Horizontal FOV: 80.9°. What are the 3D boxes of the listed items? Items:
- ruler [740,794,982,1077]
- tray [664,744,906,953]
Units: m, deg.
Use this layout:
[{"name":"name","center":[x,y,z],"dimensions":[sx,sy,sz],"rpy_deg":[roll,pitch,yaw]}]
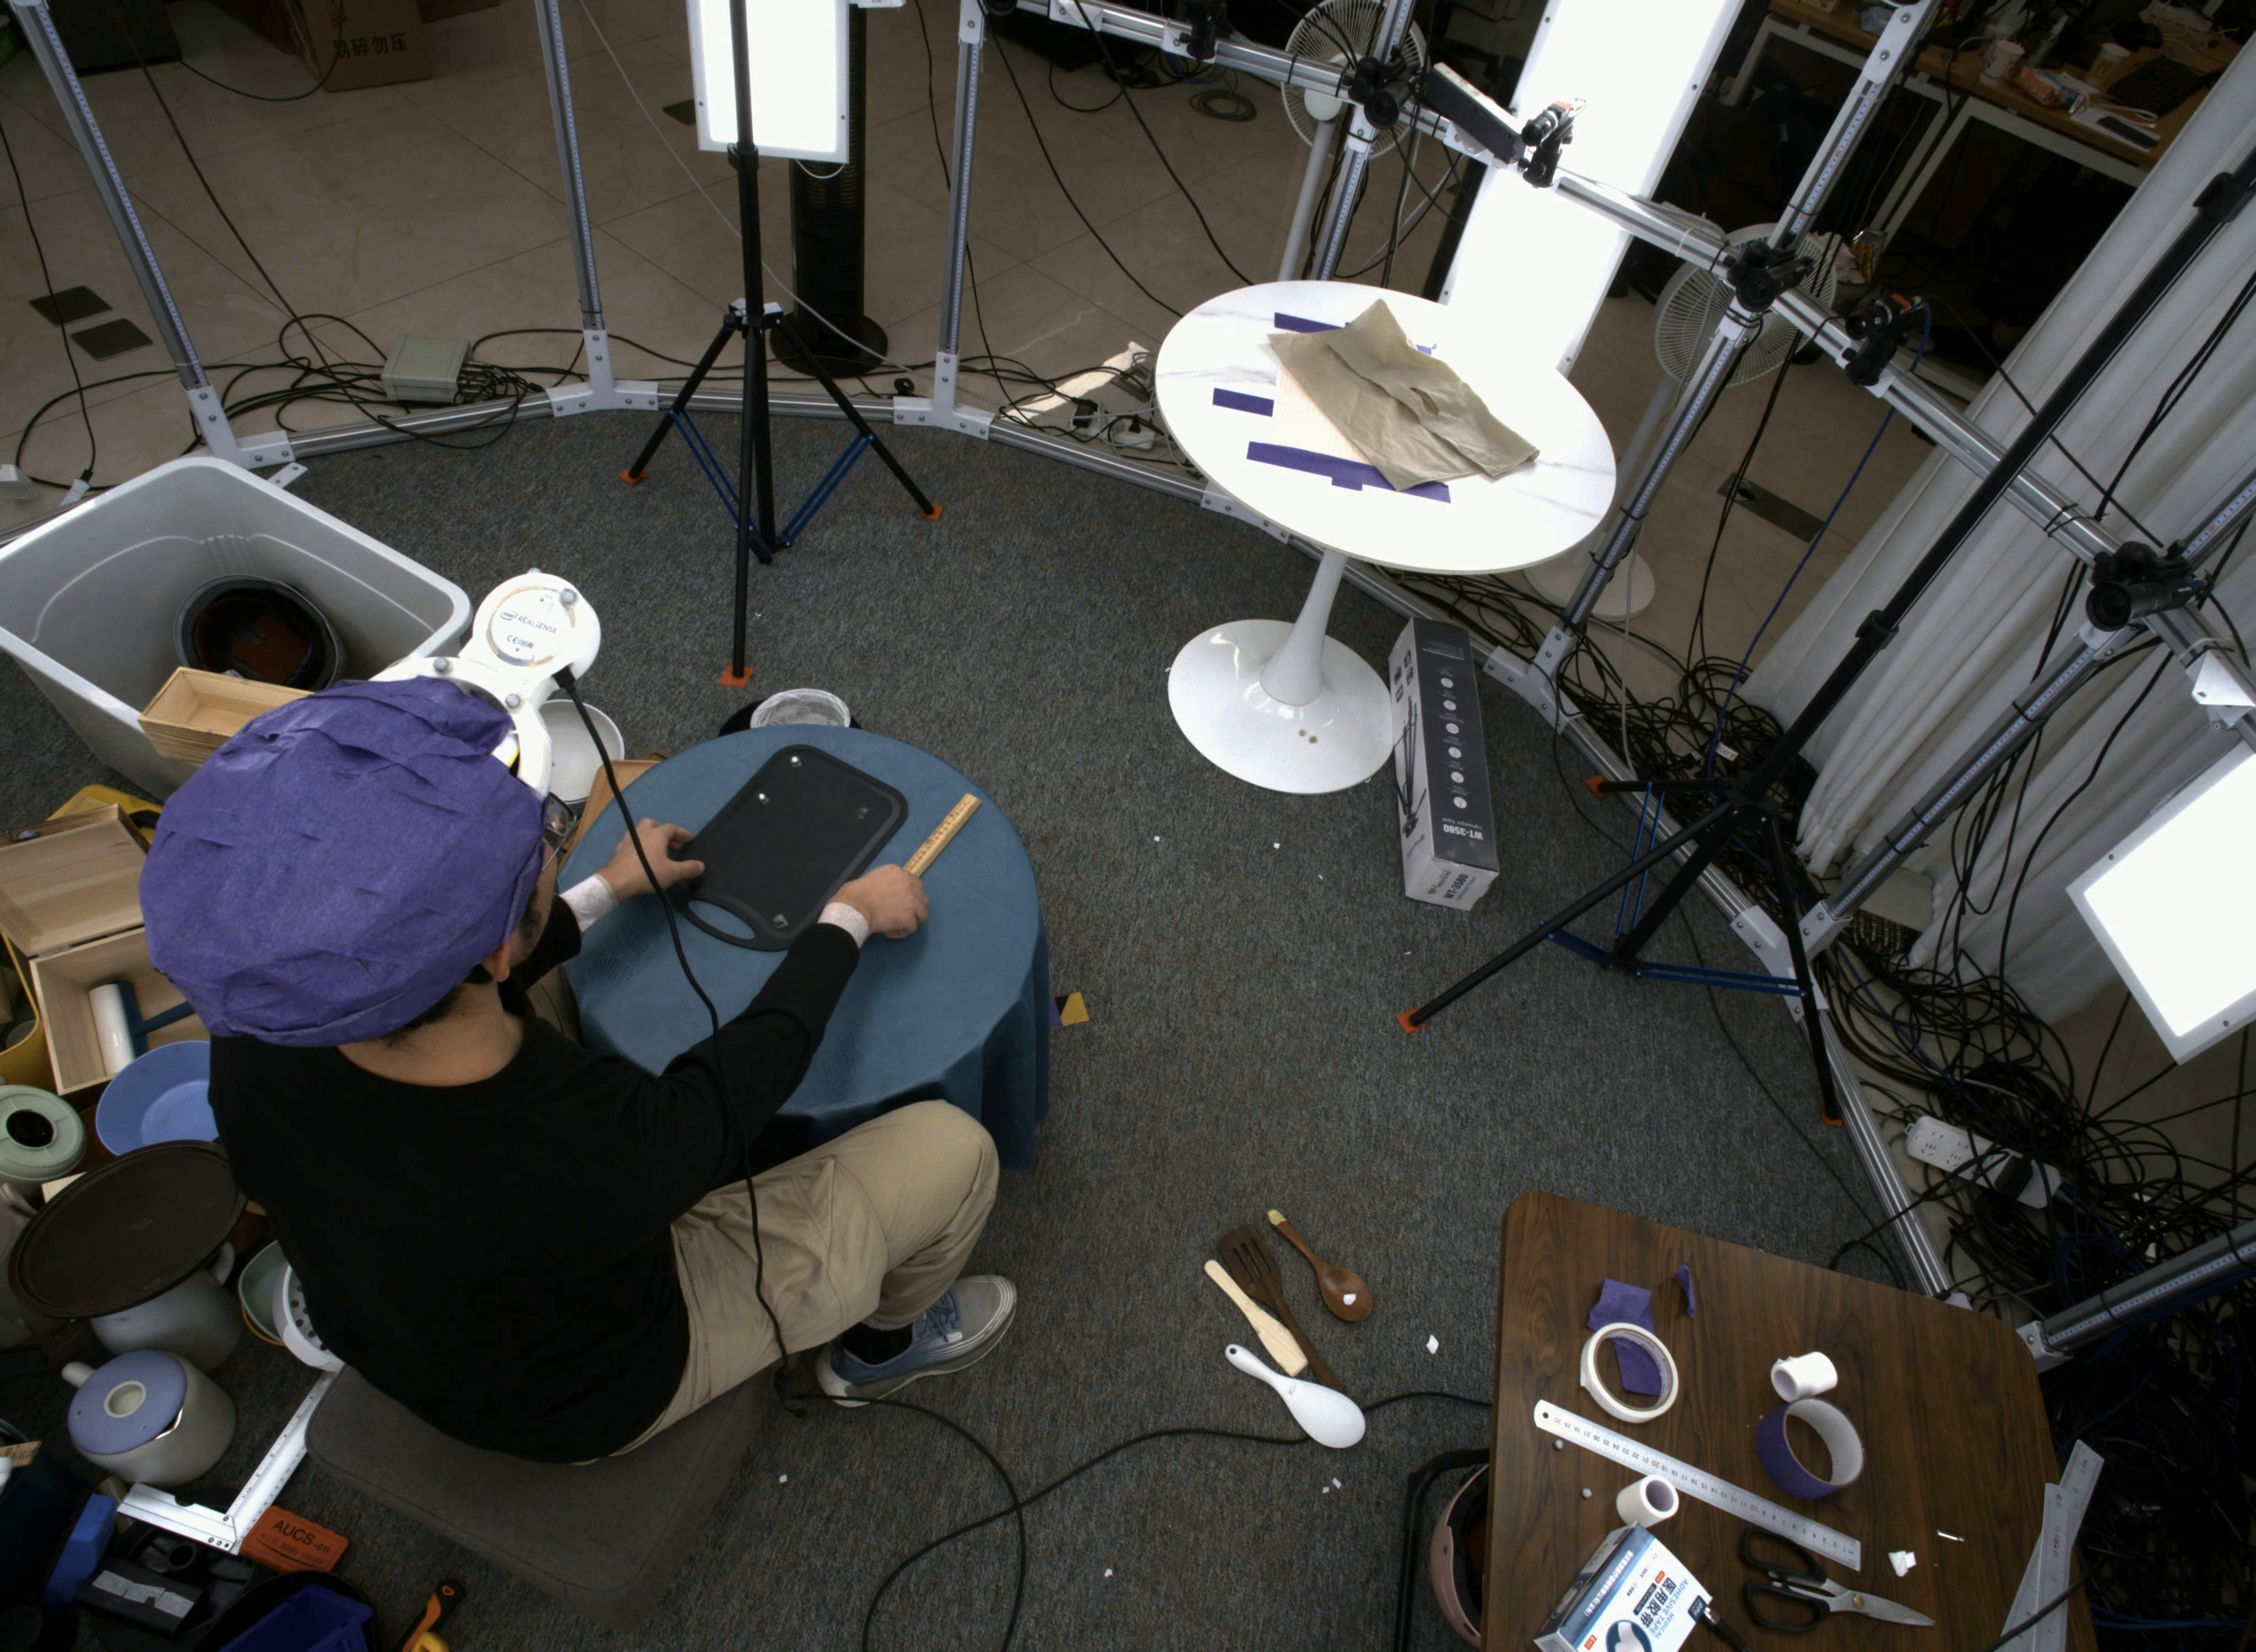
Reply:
[{"name":"ruler","center":[-0.328,0.120,1.651],"dimensions":[0.026,0.006,0.498],"rpy_deg":[28,52,10]},{"name":"tray","center":[-0.447,0.025,1.690],"dimensions":[0.208,0.010,0.324],"rpy_deg":[28,52,7]}]
